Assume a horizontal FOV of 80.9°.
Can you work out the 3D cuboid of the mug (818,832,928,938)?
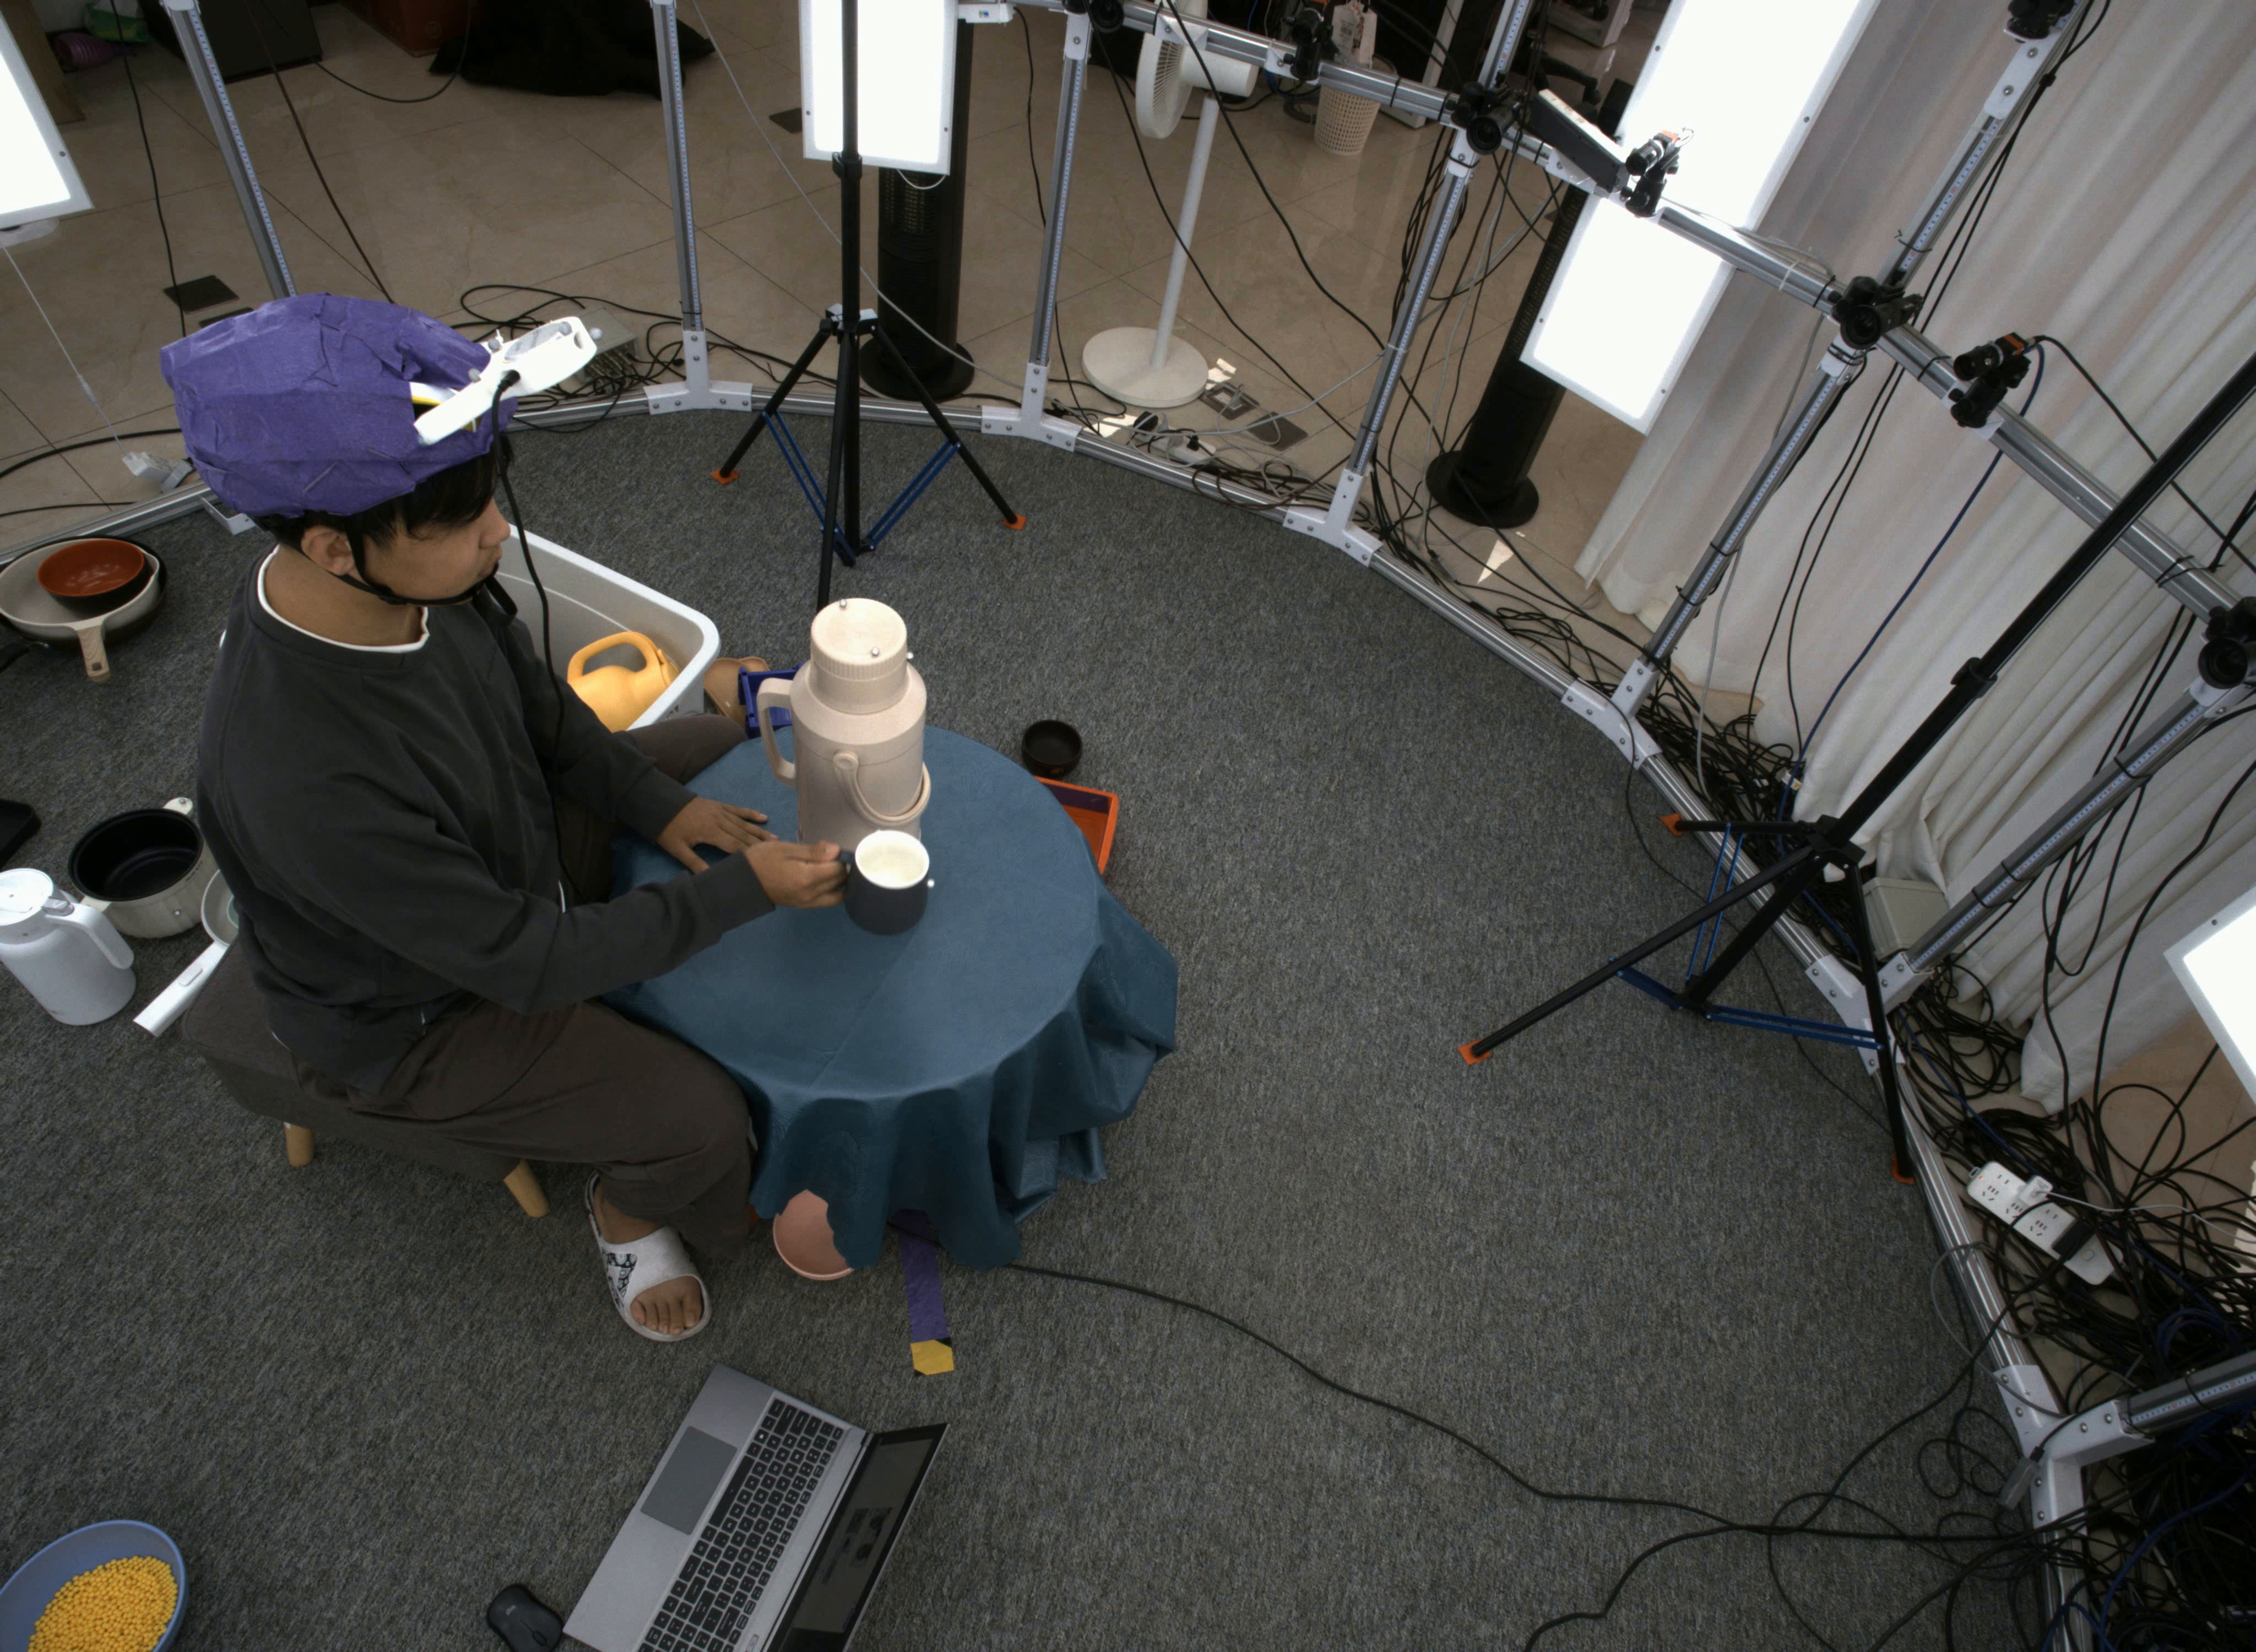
[{"bbox_3d":[-0.283,0.059,1.440,0.123,0.091,0.092,17,48,-7],"label":"mug"}]

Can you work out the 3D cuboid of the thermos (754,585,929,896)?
[{"bbox_3d":[-0.340,-0.099,1.559,0.206,0.415,0.172,7,51,-7],"label":"thermos"}]
